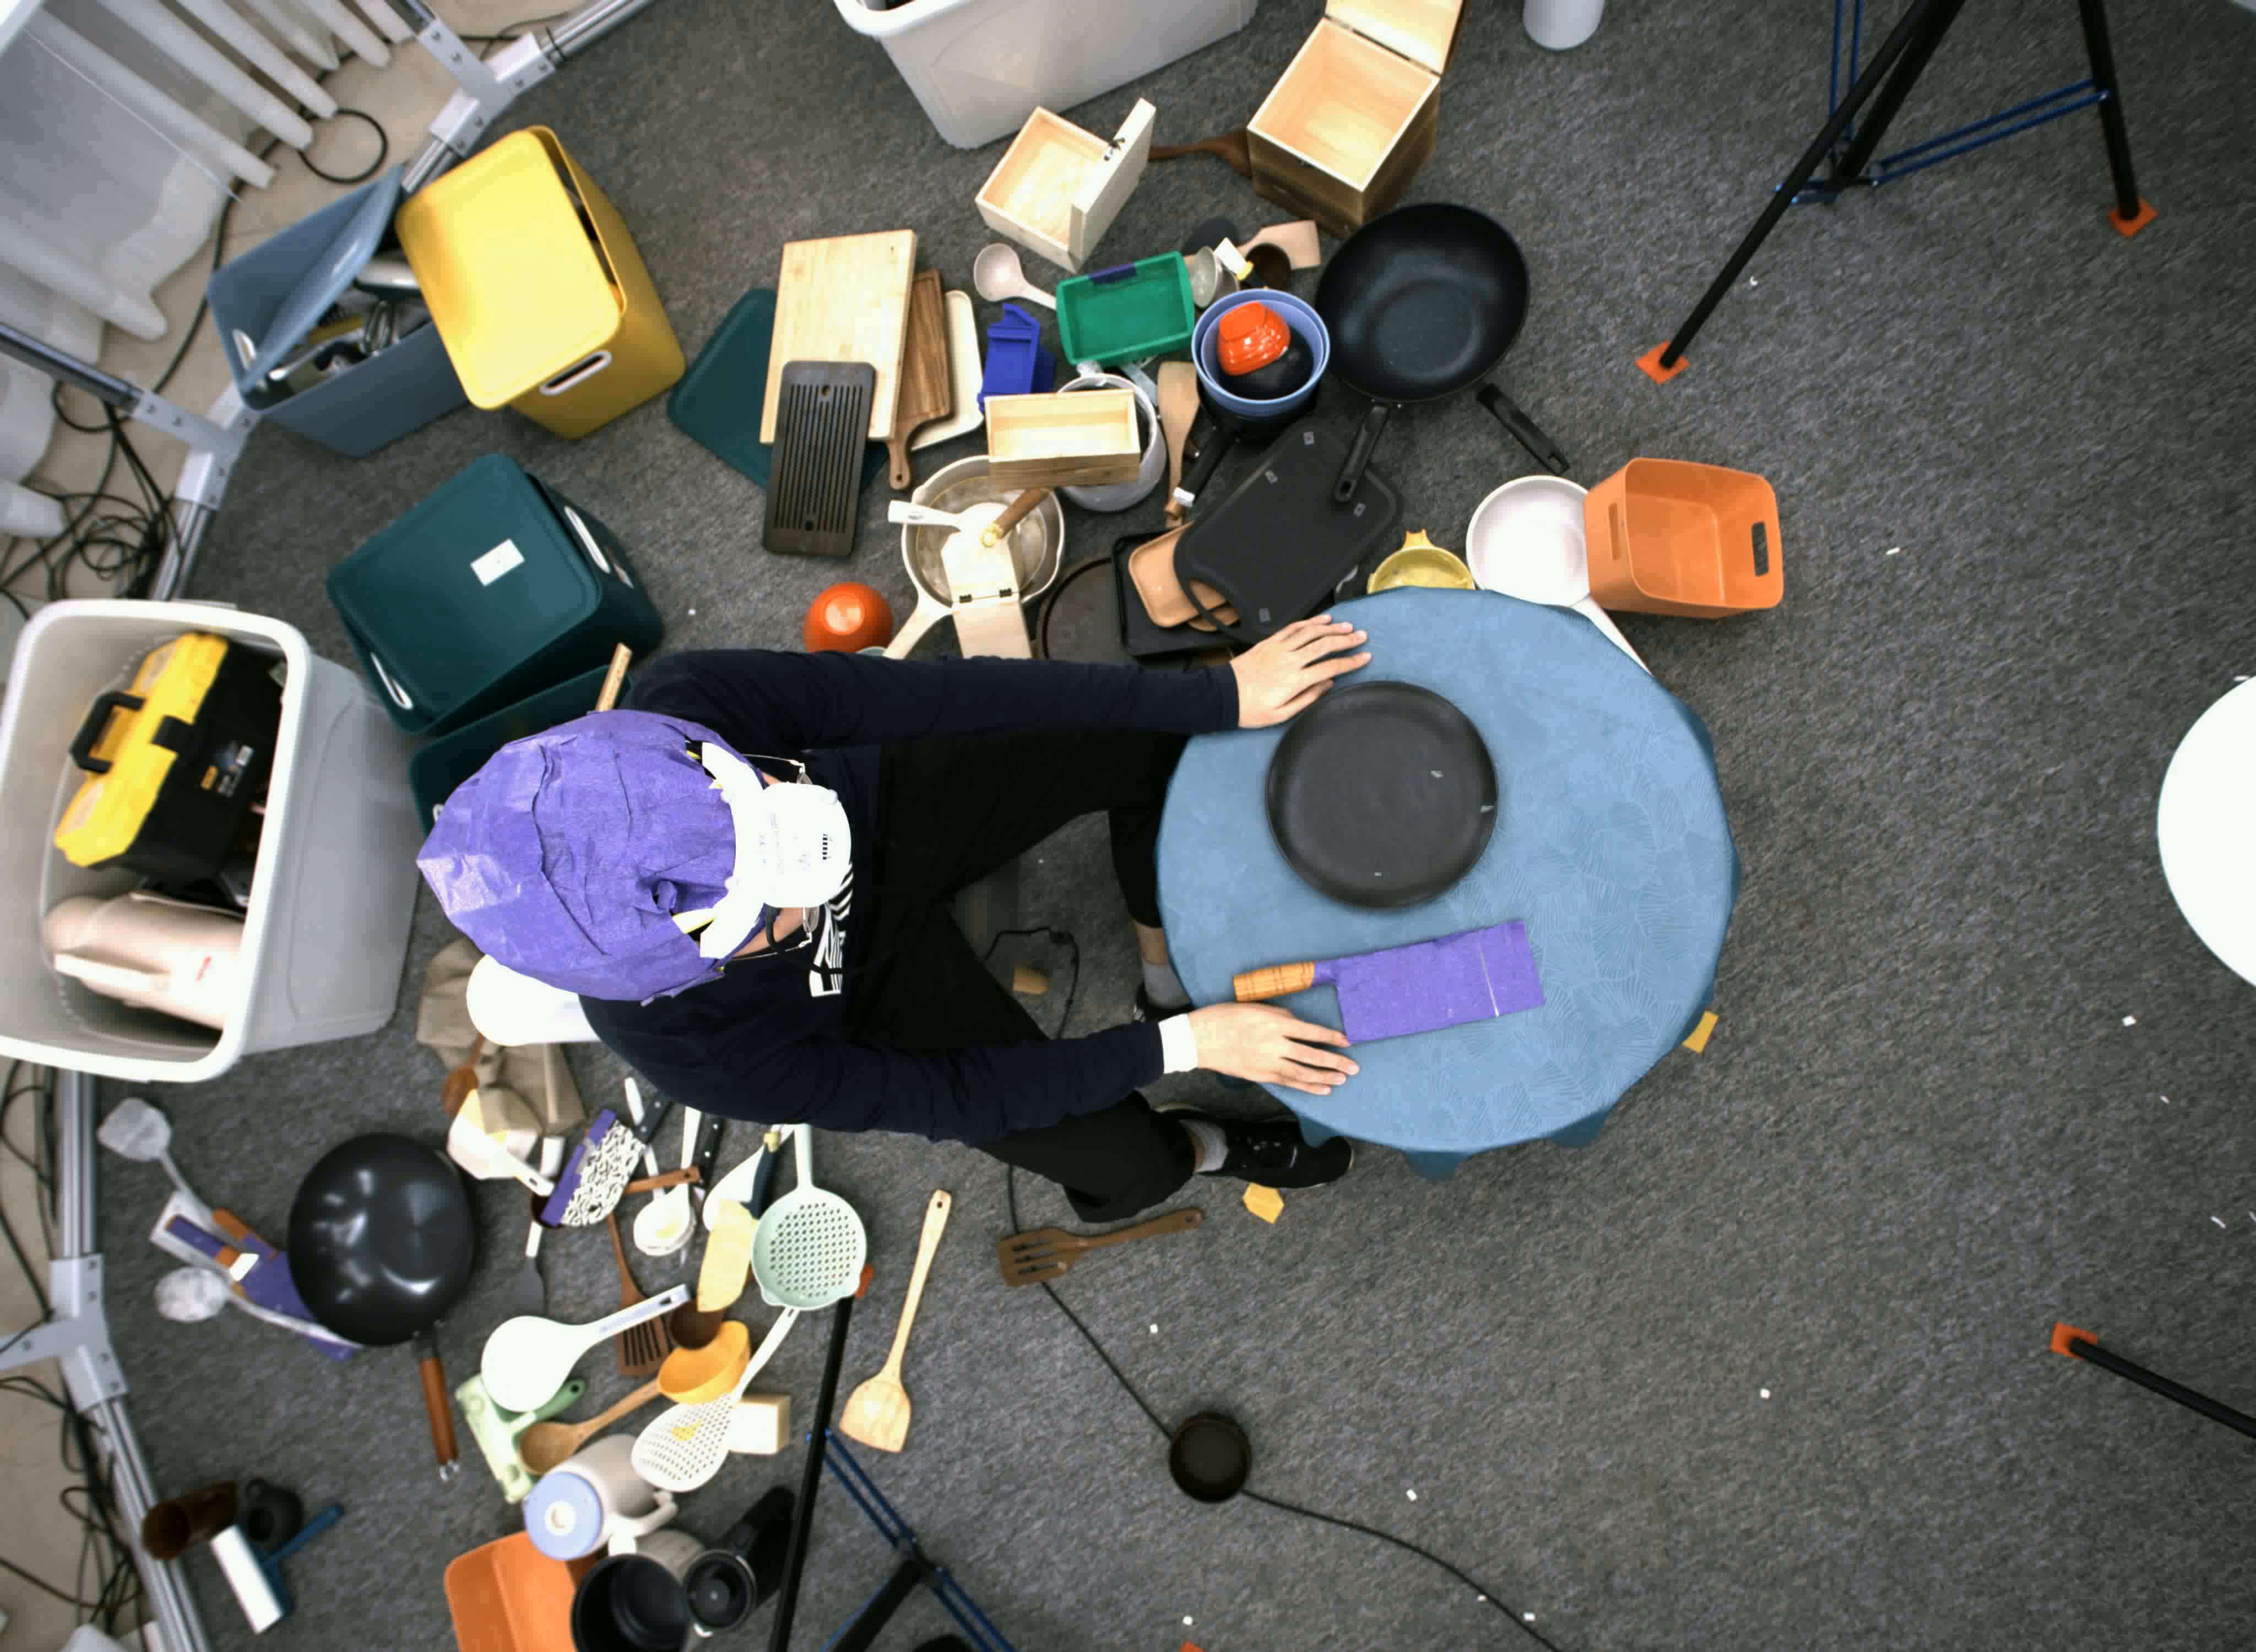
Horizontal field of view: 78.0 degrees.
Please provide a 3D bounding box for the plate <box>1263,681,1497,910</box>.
[{"bbox_3d":[0.265,-0.033,1.455,0.245,0.023,0.243,-1,87,11],"label":"plate"}]

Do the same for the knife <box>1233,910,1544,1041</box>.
[{"bbox_3d":[0.271,0.170,1.441,0.317,0.032,0.103,-14,84,9],"label":"knife"}]
